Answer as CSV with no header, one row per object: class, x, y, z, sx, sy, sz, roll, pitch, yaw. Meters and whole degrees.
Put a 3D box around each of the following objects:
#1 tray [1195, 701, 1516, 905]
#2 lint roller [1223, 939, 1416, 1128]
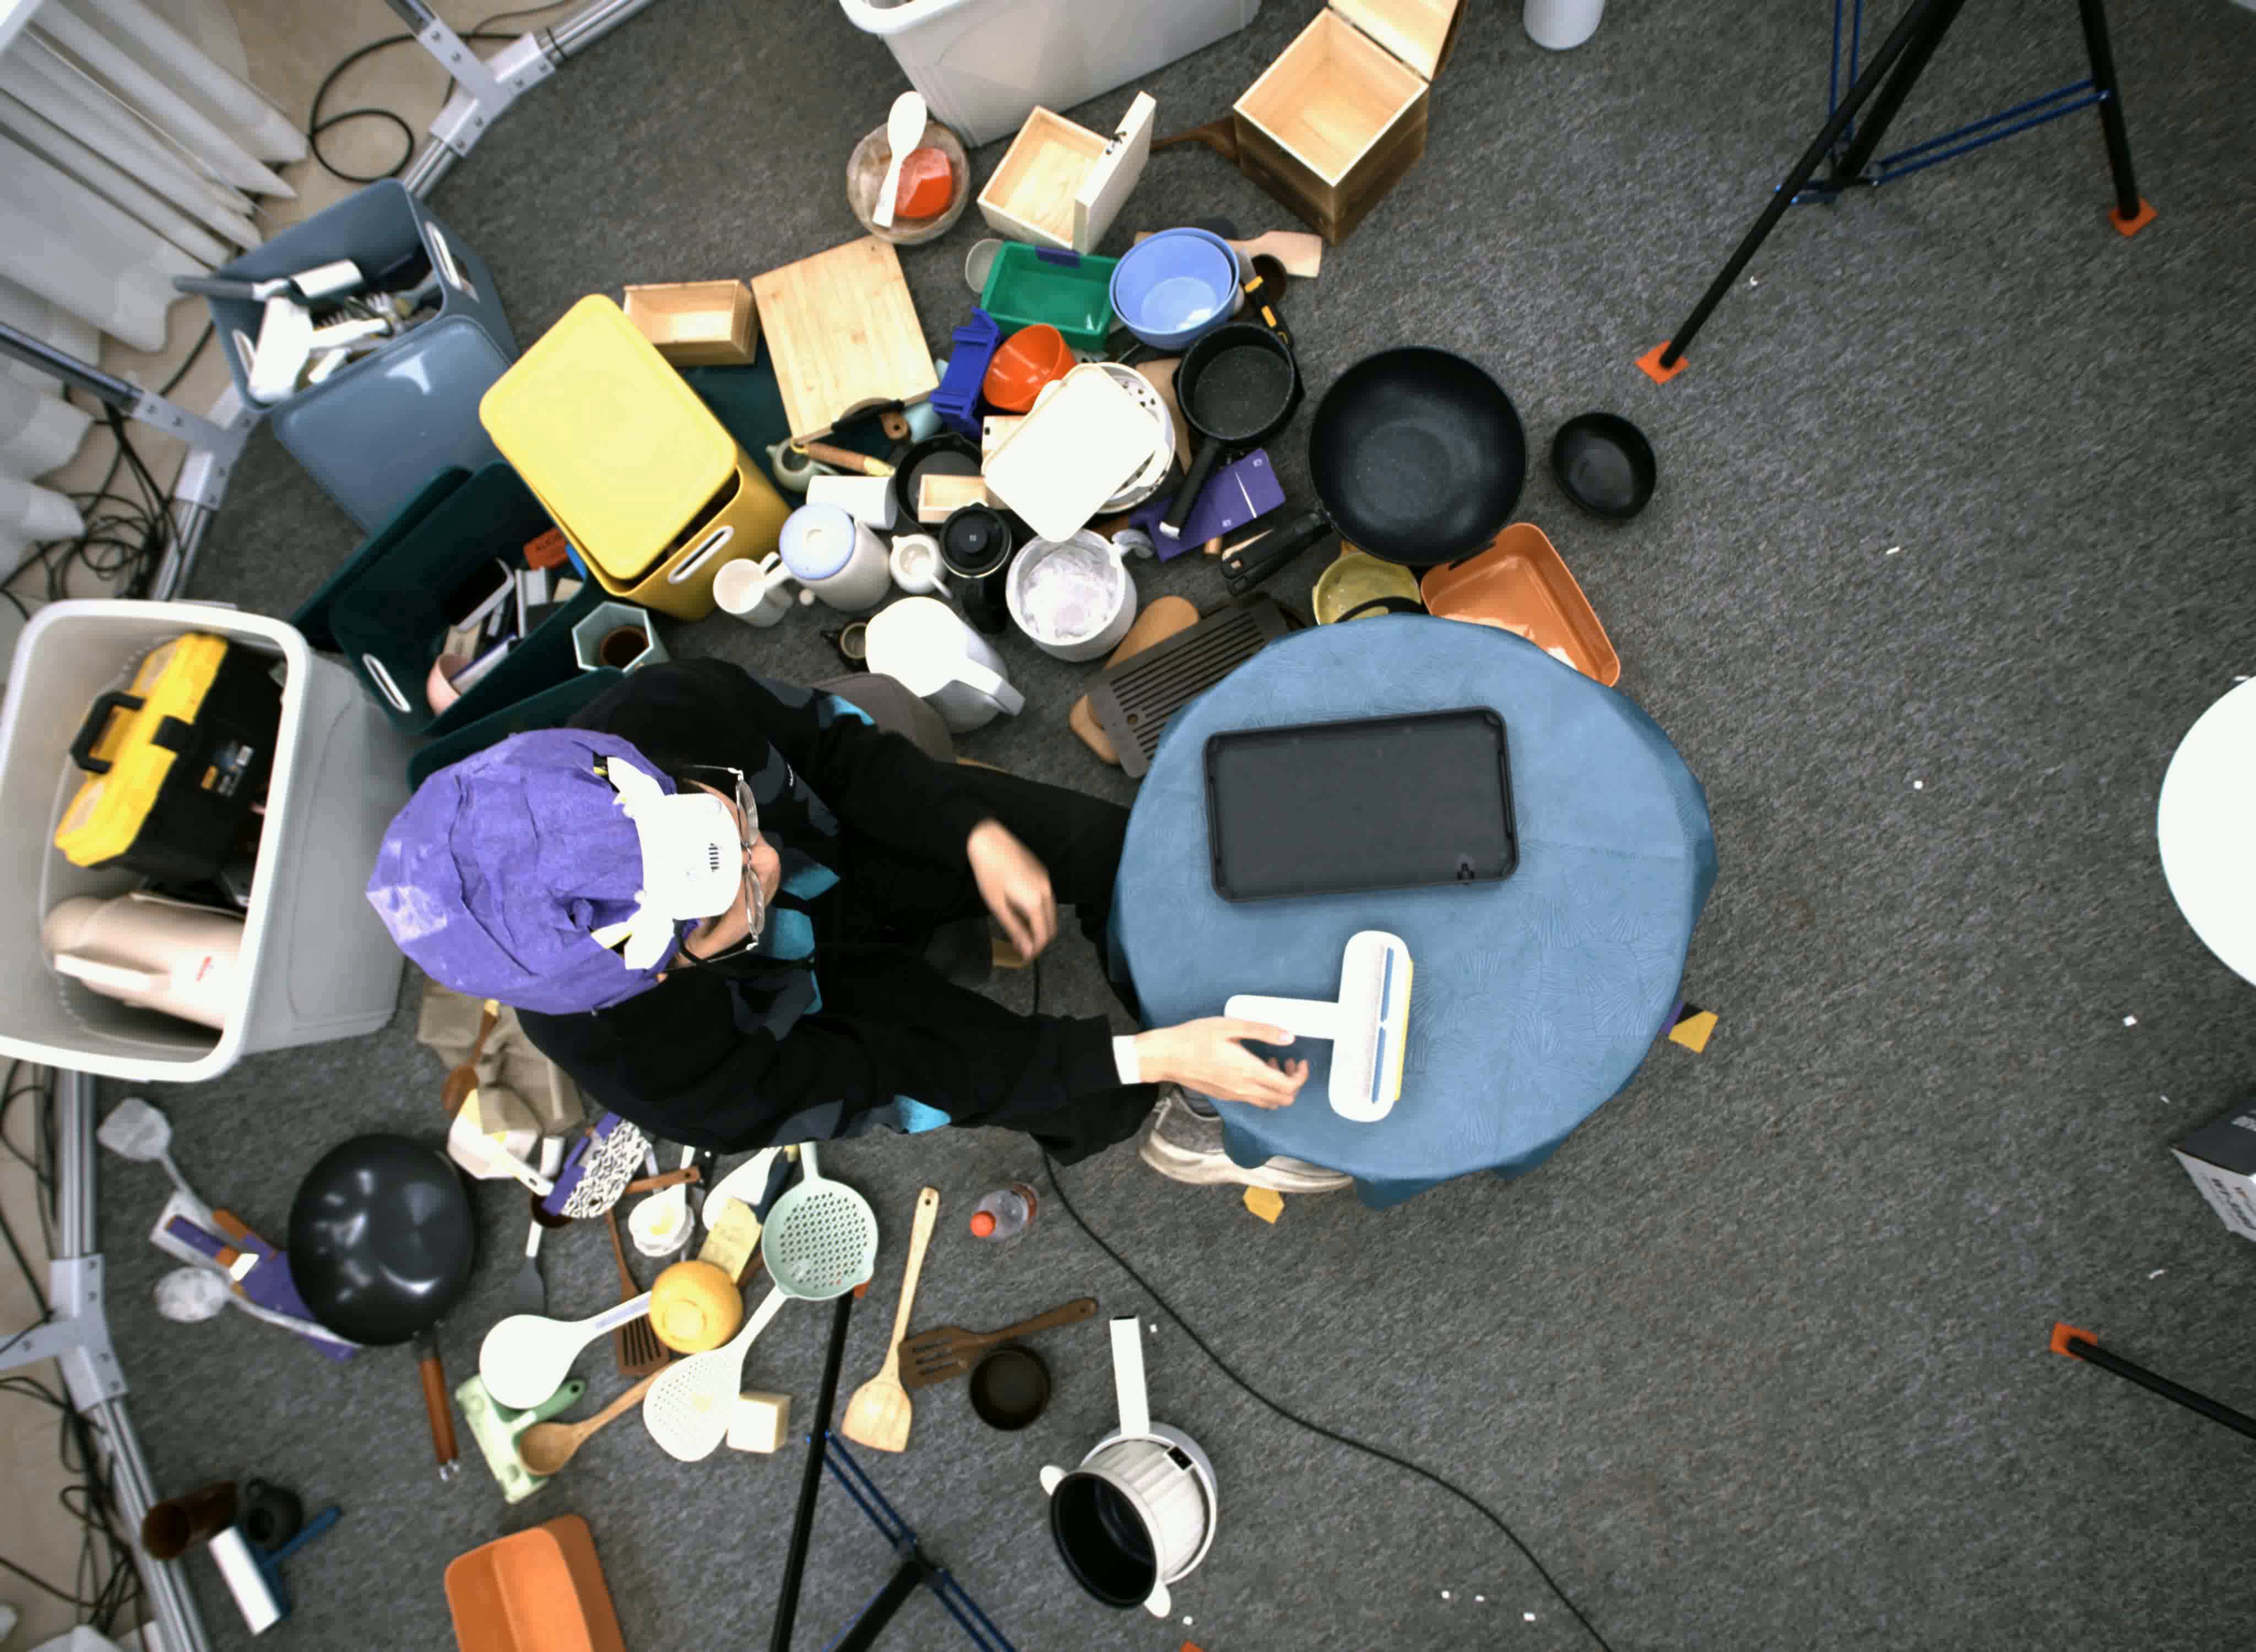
tray,0.236,-0.023,1.448,0.319,0.037,0.183,-7,86,10
lint roller,0.190,0.201,1.430,0.193,0.074,0.191,10,83,12
